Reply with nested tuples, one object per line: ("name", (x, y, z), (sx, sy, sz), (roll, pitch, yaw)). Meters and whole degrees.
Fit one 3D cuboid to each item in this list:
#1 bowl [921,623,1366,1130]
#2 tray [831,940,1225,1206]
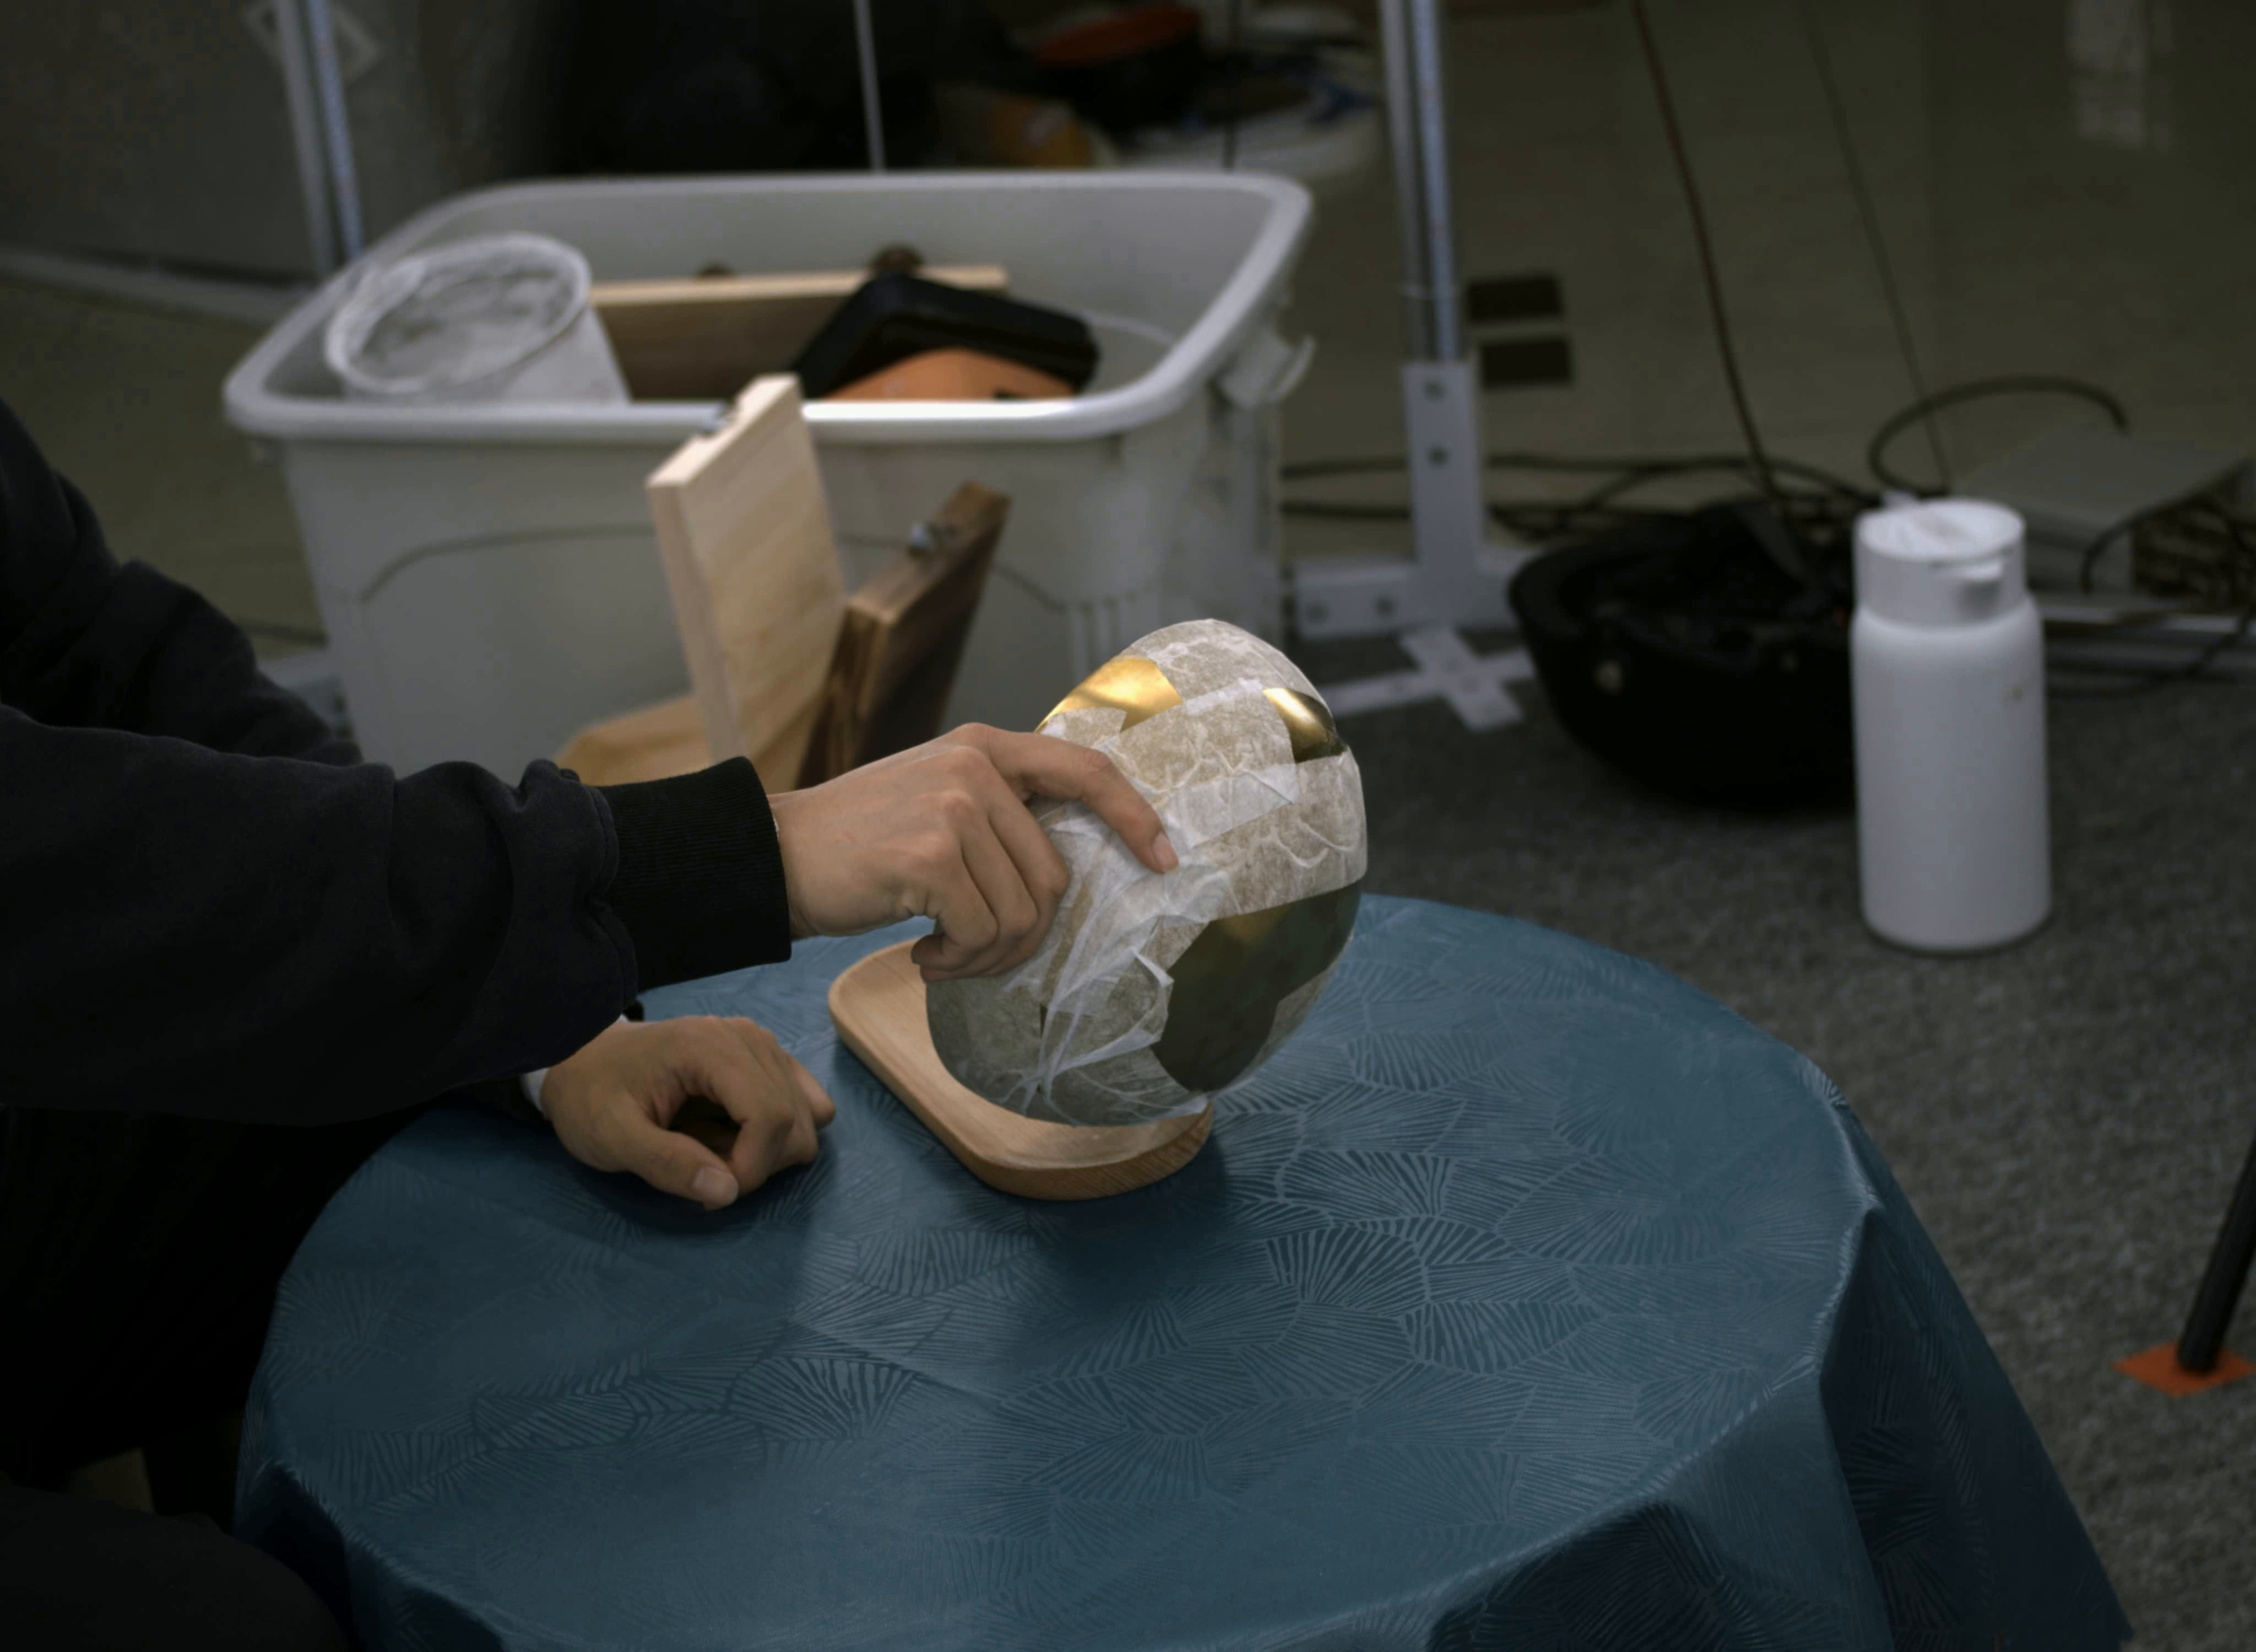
("bowl", (0.022, 0.037, 2.111), (0.093, 0.219, 0.212), (33, 42, 27))
("tray", (-0.041, 0.095, 2.239), (0.101, 0.020, 0.228), (-19, 29, -20))
